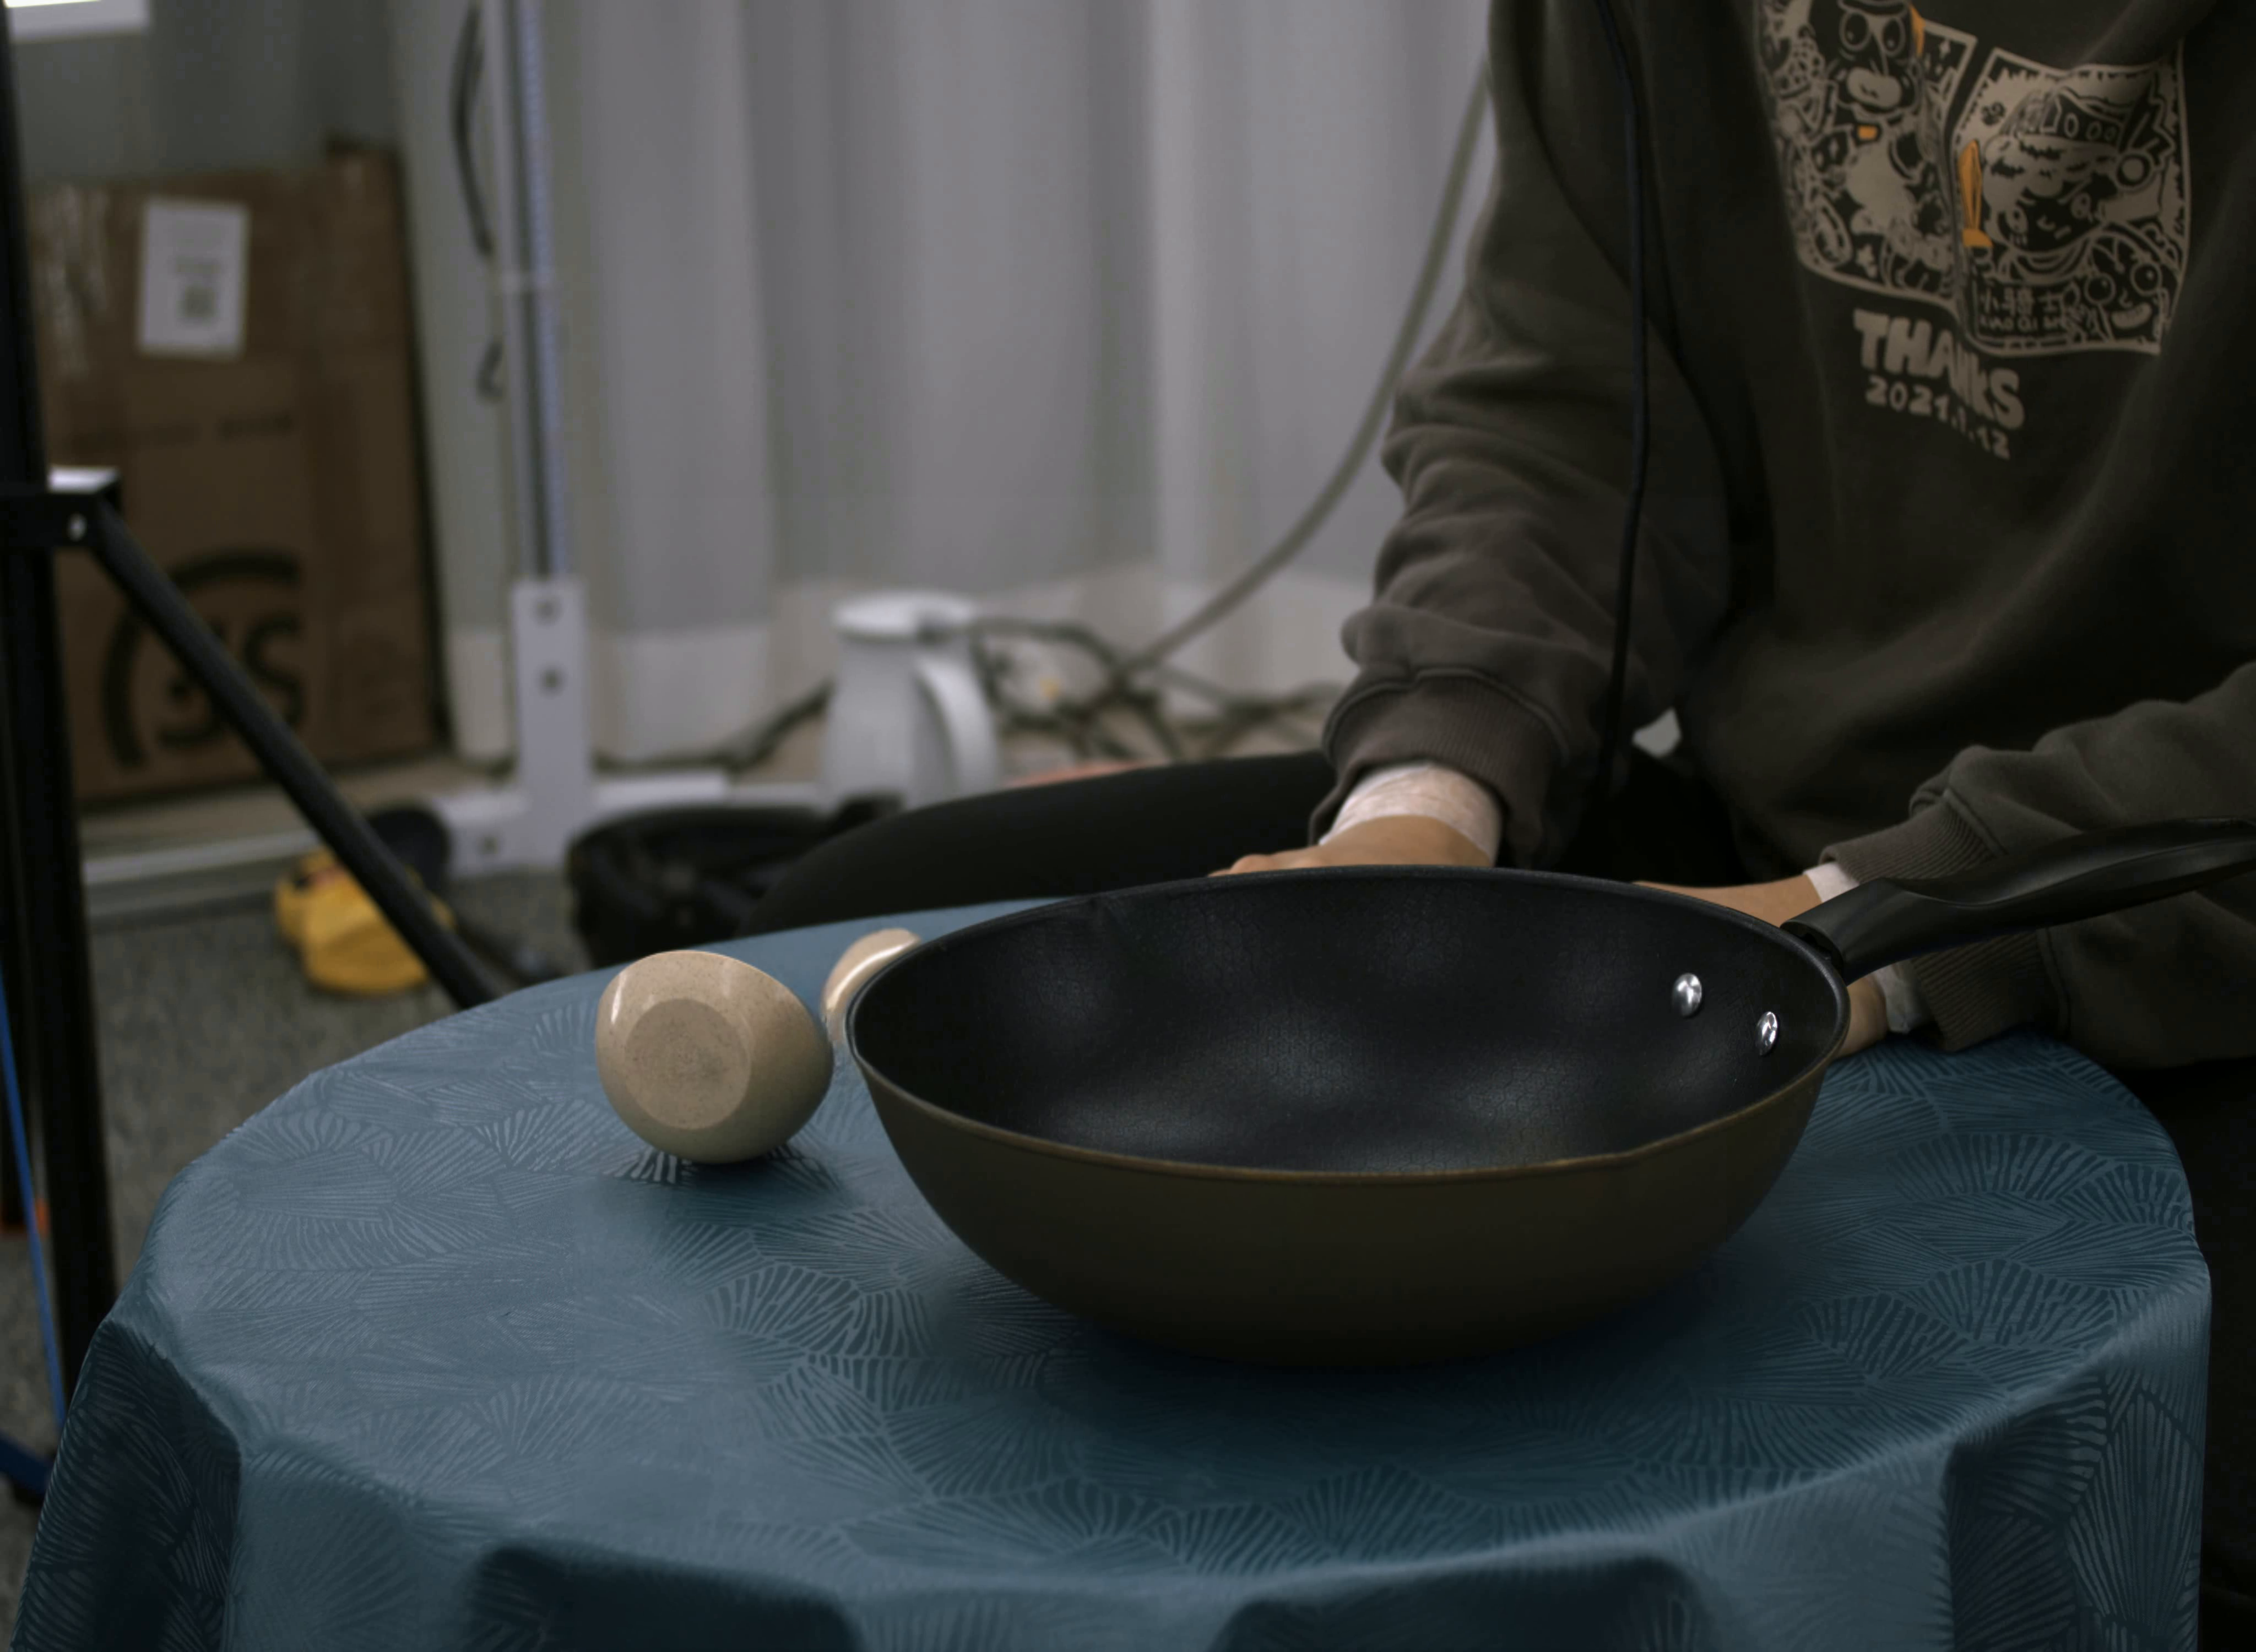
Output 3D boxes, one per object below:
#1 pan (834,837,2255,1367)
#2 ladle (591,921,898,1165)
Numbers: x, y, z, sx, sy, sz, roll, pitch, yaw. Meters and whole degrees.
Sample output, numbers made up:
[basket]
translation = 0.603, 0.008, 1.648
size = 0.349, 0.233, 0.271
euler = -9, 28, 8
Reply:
[pan]
translation = 0.139, 0.072, 1.514
size = 0.454, 0.087, 0.294
euler = -9, 17, -25
[ladle]
translation = -0.109, 0.038, 1.692
size = 0.072, 0.073, 0.253
euler = -1, 17, 11
